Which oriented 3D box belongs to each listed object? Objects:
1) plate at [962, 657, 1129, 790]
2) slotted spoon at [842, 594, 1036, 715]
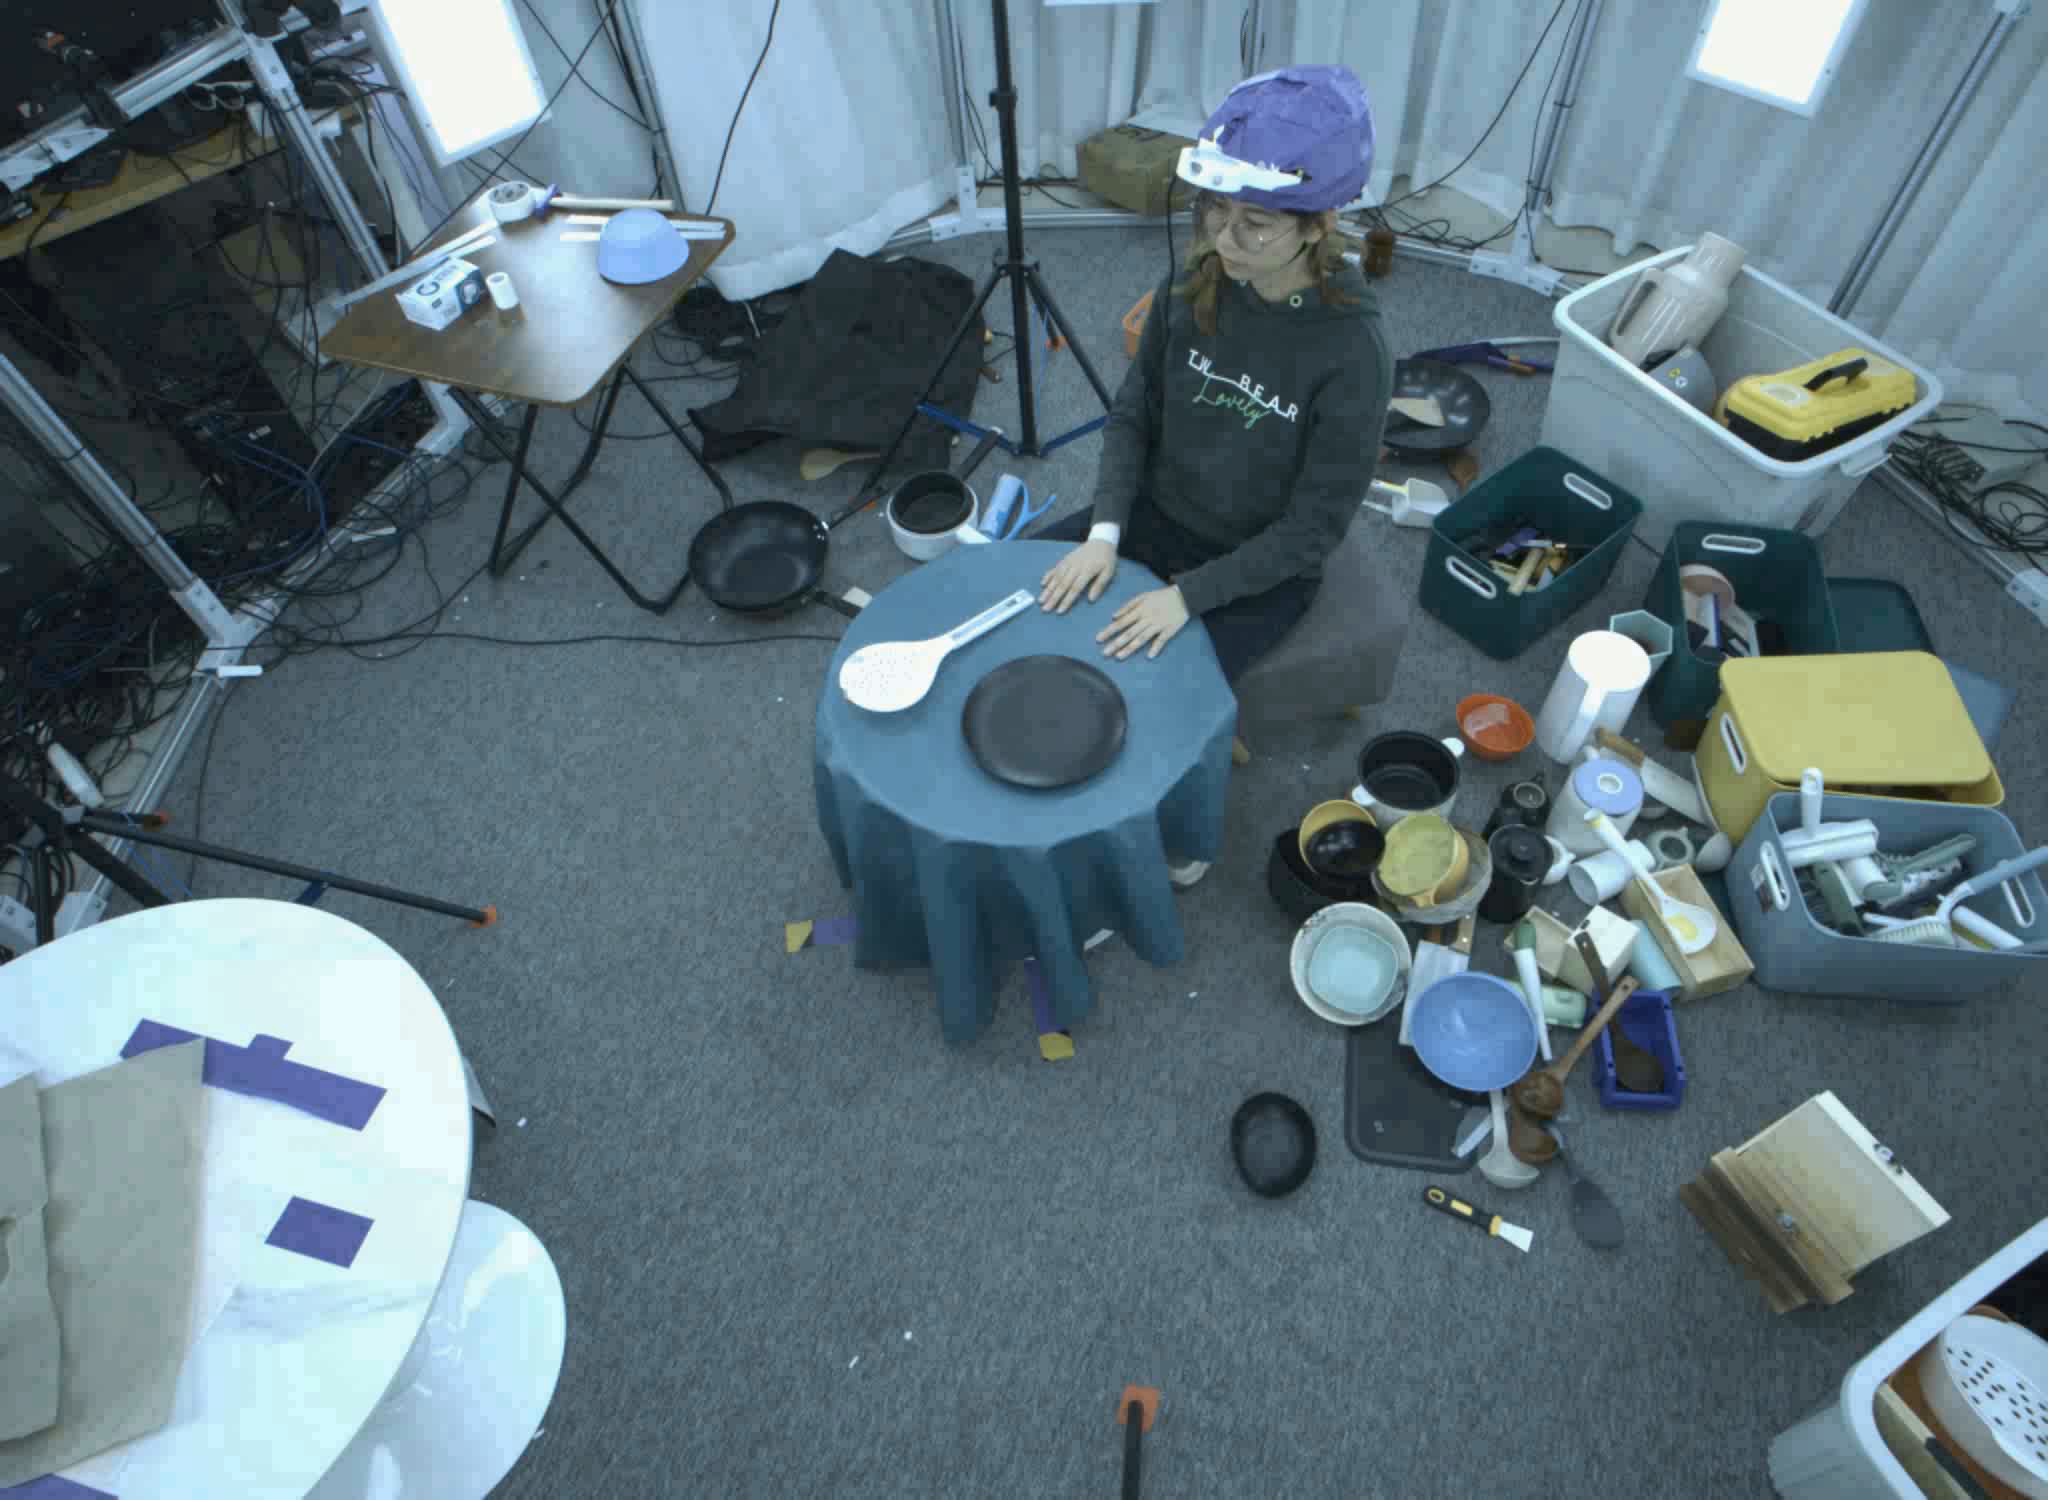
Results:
[{"bbox_3d":[0.031,-0.037,1.809,0.244,0.023,0.242,0,55,1],"label":"plate"},{"bbox_3d":[-0.122,-0.155,1.882,0.352,0.046,0.133,-35,63,-22],"label":"slotted spoon"}]
